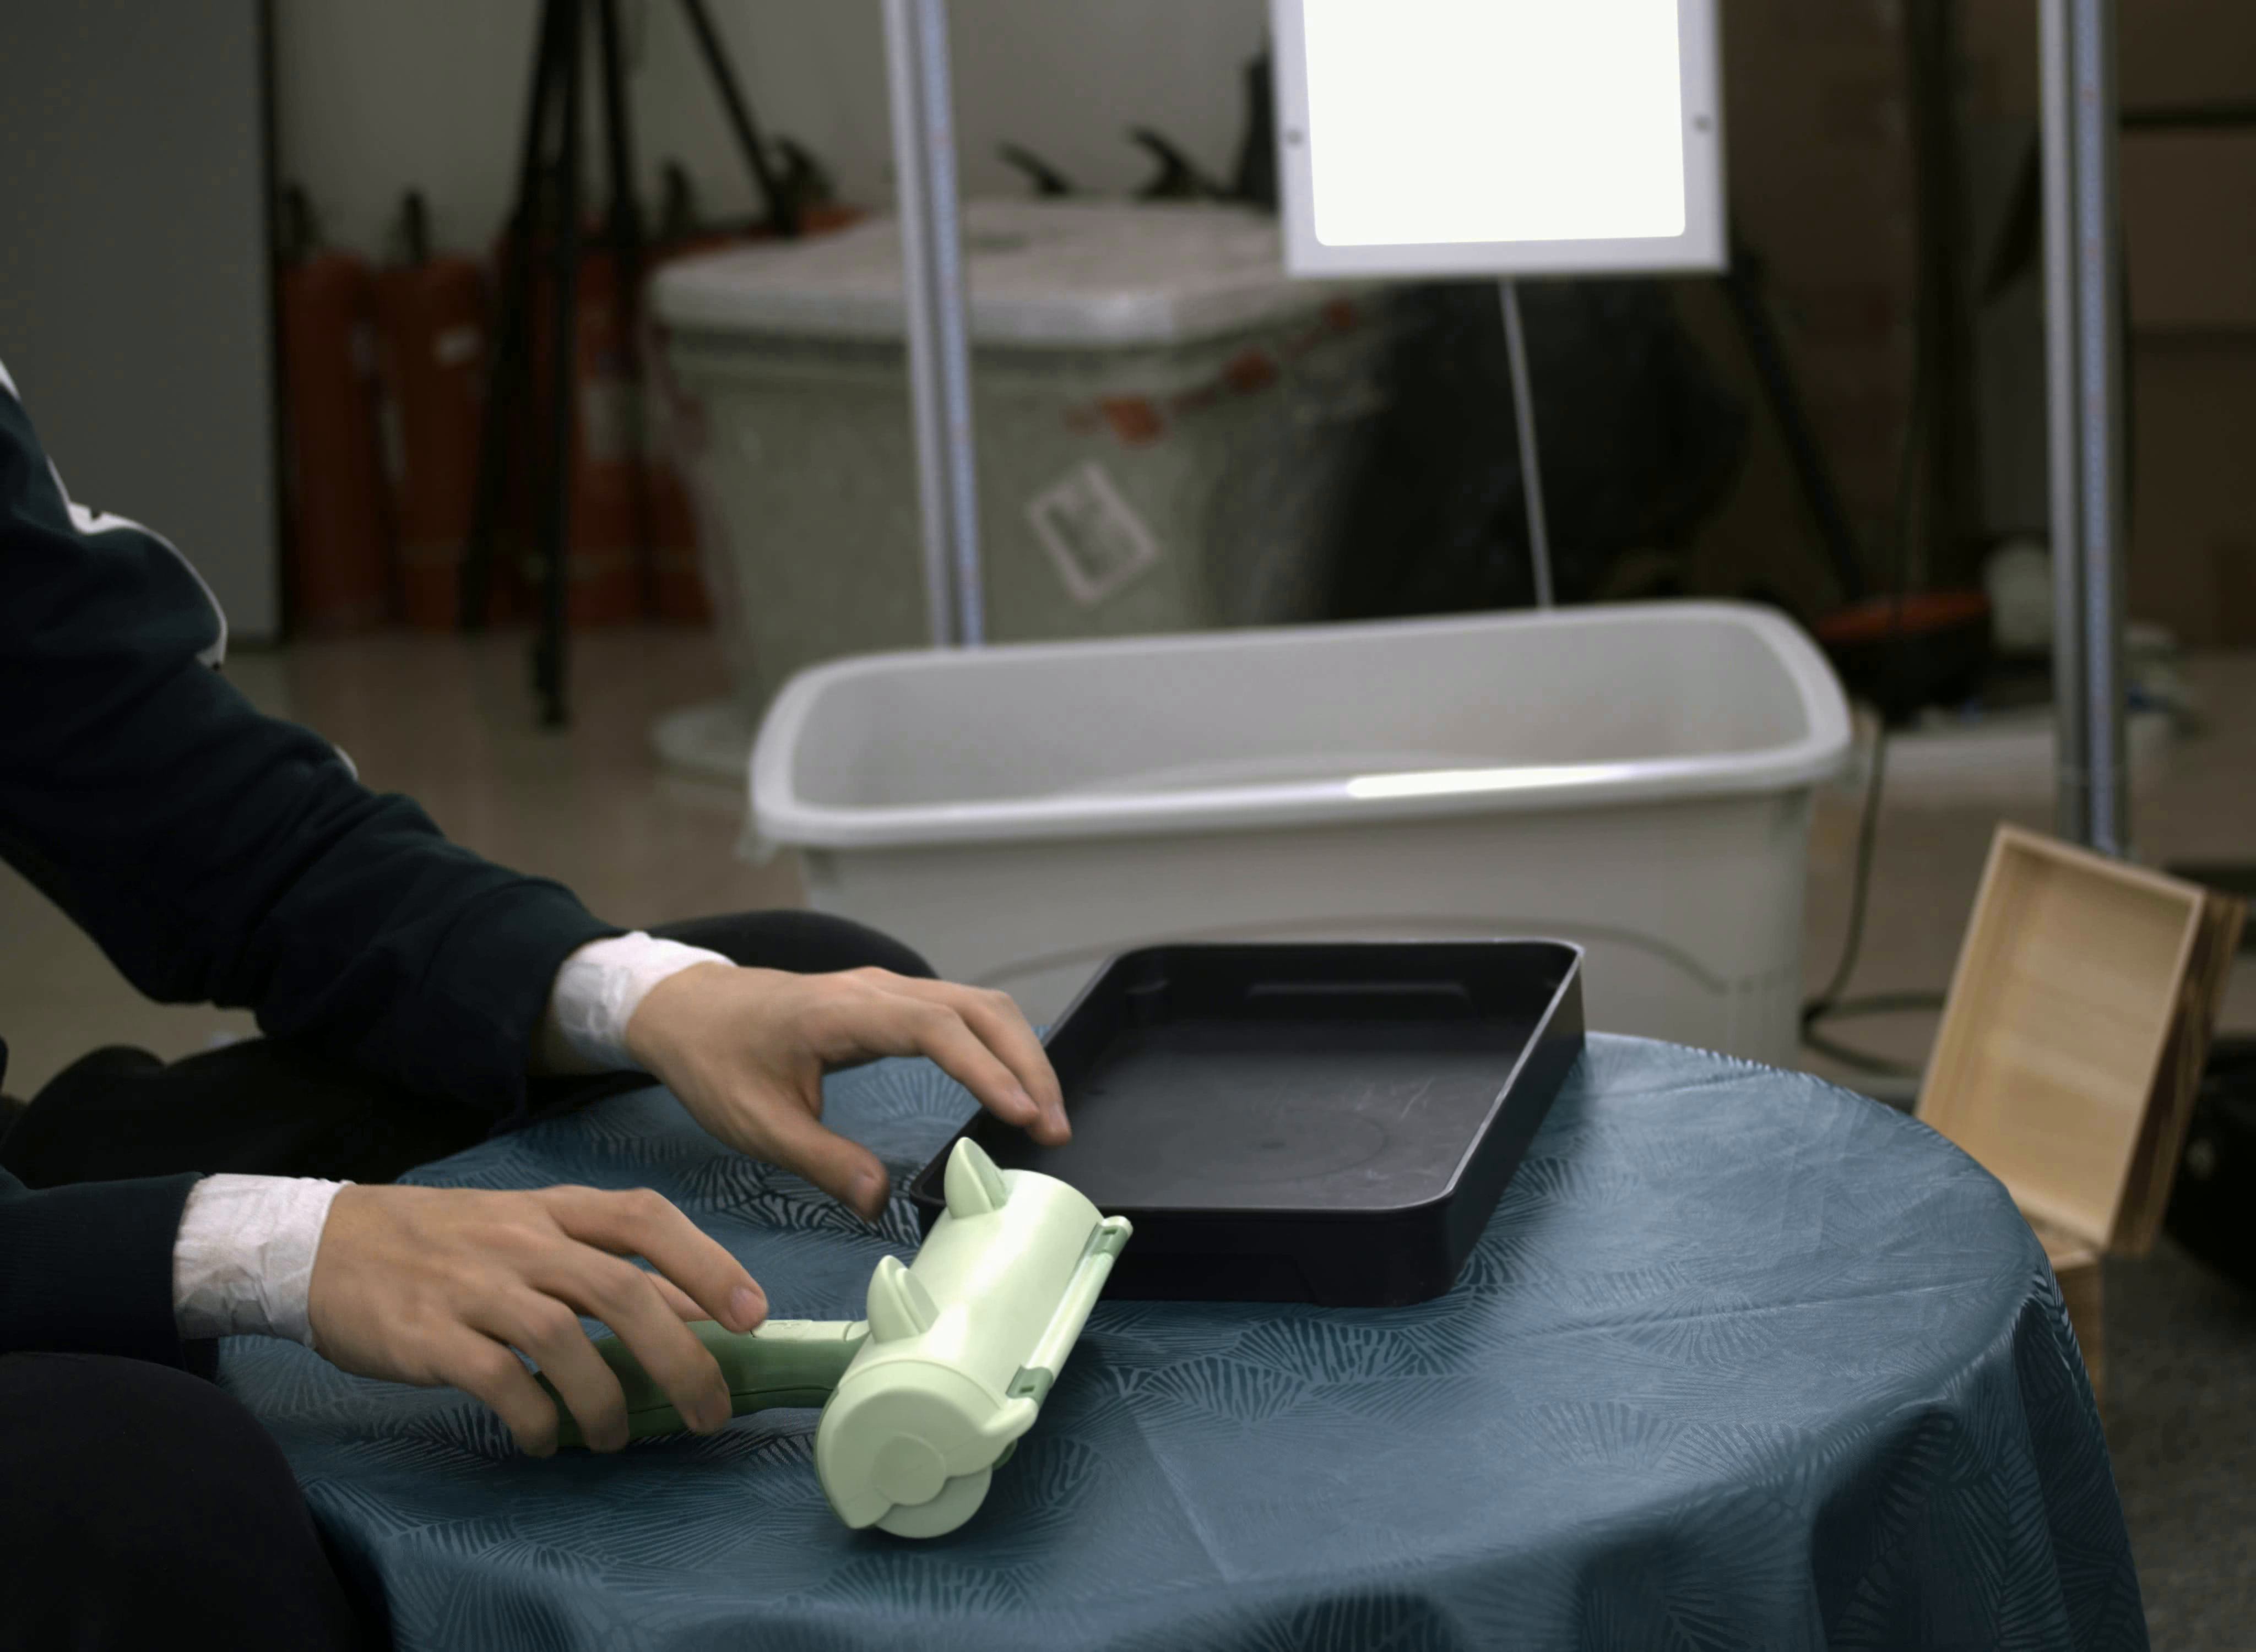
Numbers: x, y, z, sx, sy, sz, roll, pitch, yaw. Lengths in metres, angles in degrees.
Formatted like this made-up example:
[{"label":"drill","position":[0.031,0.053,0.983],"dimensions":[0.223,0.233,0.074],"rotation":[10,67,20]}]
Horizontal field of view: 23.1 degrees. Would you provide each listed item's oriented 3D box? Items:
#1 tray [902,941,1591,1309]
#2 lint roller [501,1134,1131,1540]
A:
[{"label":"tray","position":[0.050,0.099,1.912],"dimensions":[0.186,0.037,0.313],"rotation":[-1,14,16]},{"label":"lint roller","position":[-0.103,0.149,1.674],"dimensions":[0.184,0.082,0.196],"rotation":[1,15,11]}]
